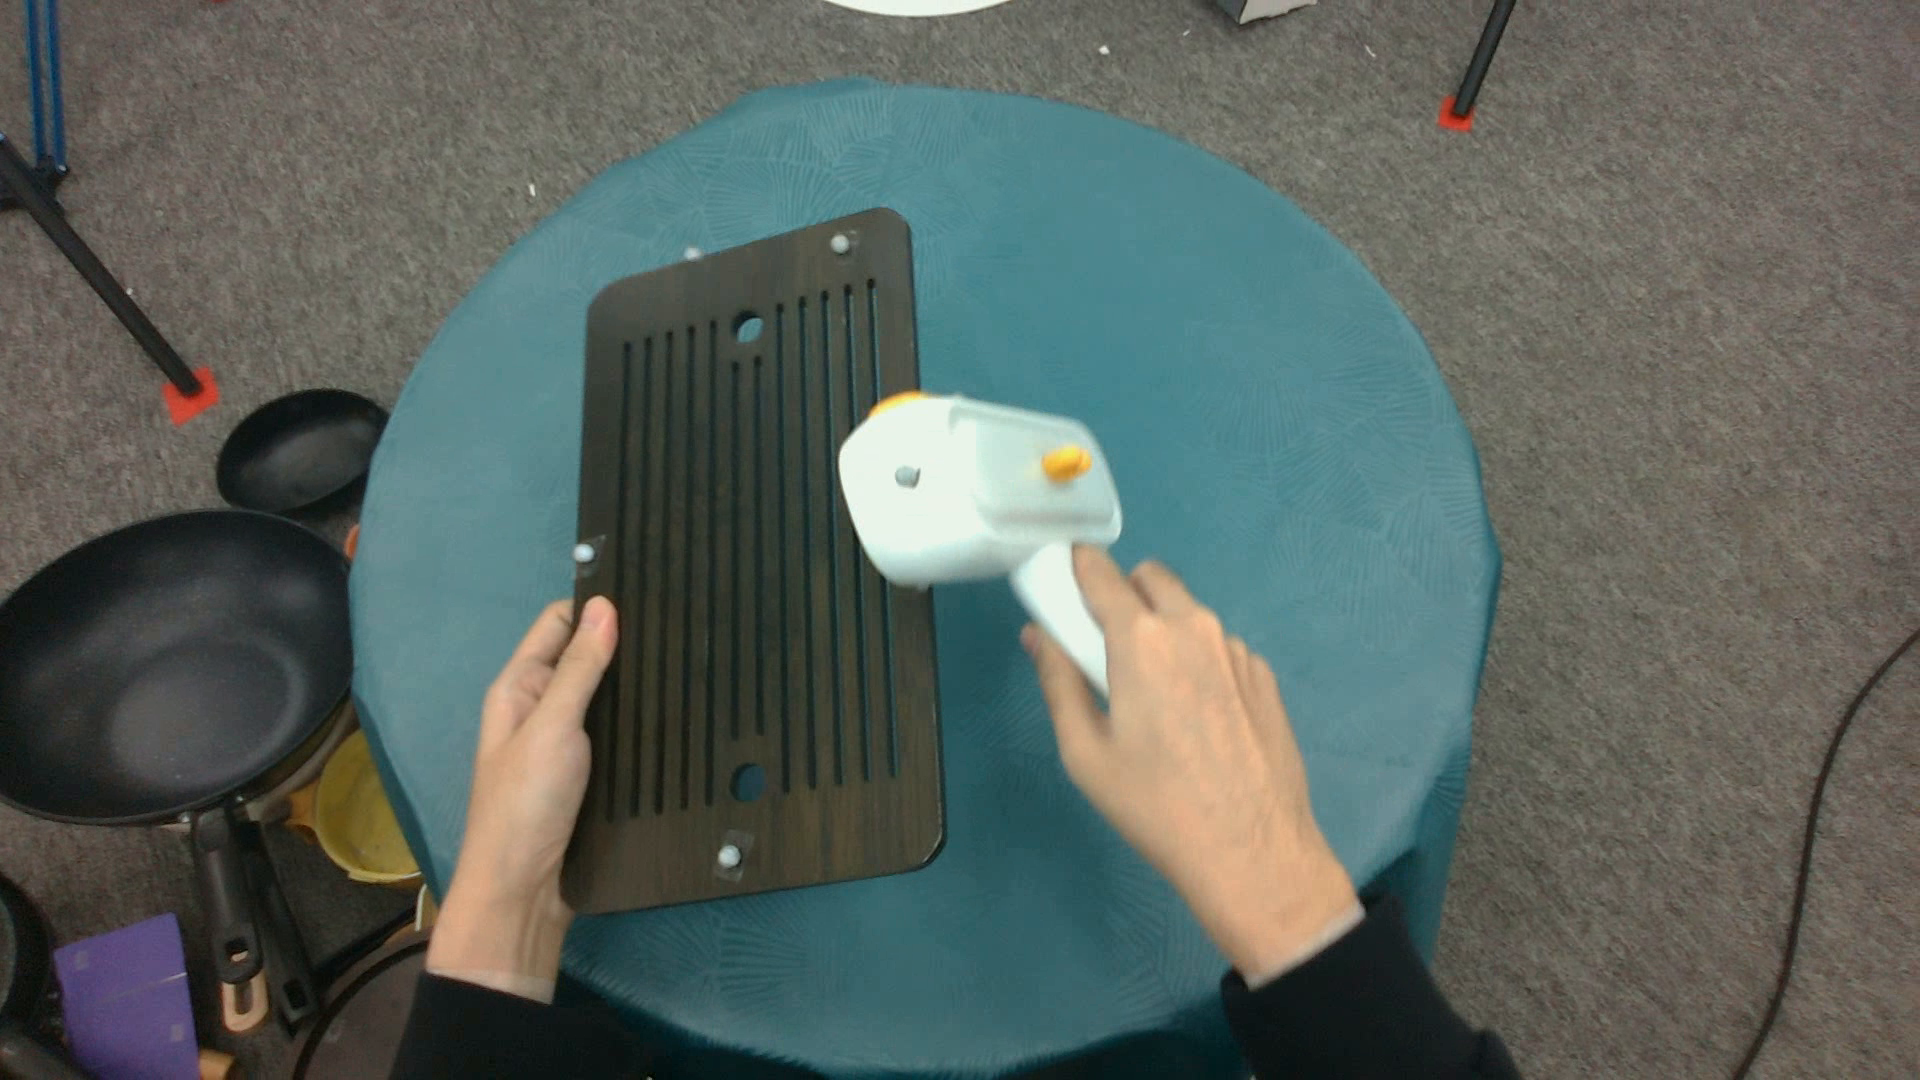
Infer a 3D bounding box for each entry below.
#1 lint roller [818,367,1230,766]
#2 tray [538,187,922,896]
[{"bbox_3d":[0.038,0.015,0.568,0.074,0.193,0.192,-32,83,17],"label":"lint roller"},{"bbox_3d":[-0.105,-0.007,0.606,0.170,0.018,0.307,-12,67,16],"label":"tray"}]
